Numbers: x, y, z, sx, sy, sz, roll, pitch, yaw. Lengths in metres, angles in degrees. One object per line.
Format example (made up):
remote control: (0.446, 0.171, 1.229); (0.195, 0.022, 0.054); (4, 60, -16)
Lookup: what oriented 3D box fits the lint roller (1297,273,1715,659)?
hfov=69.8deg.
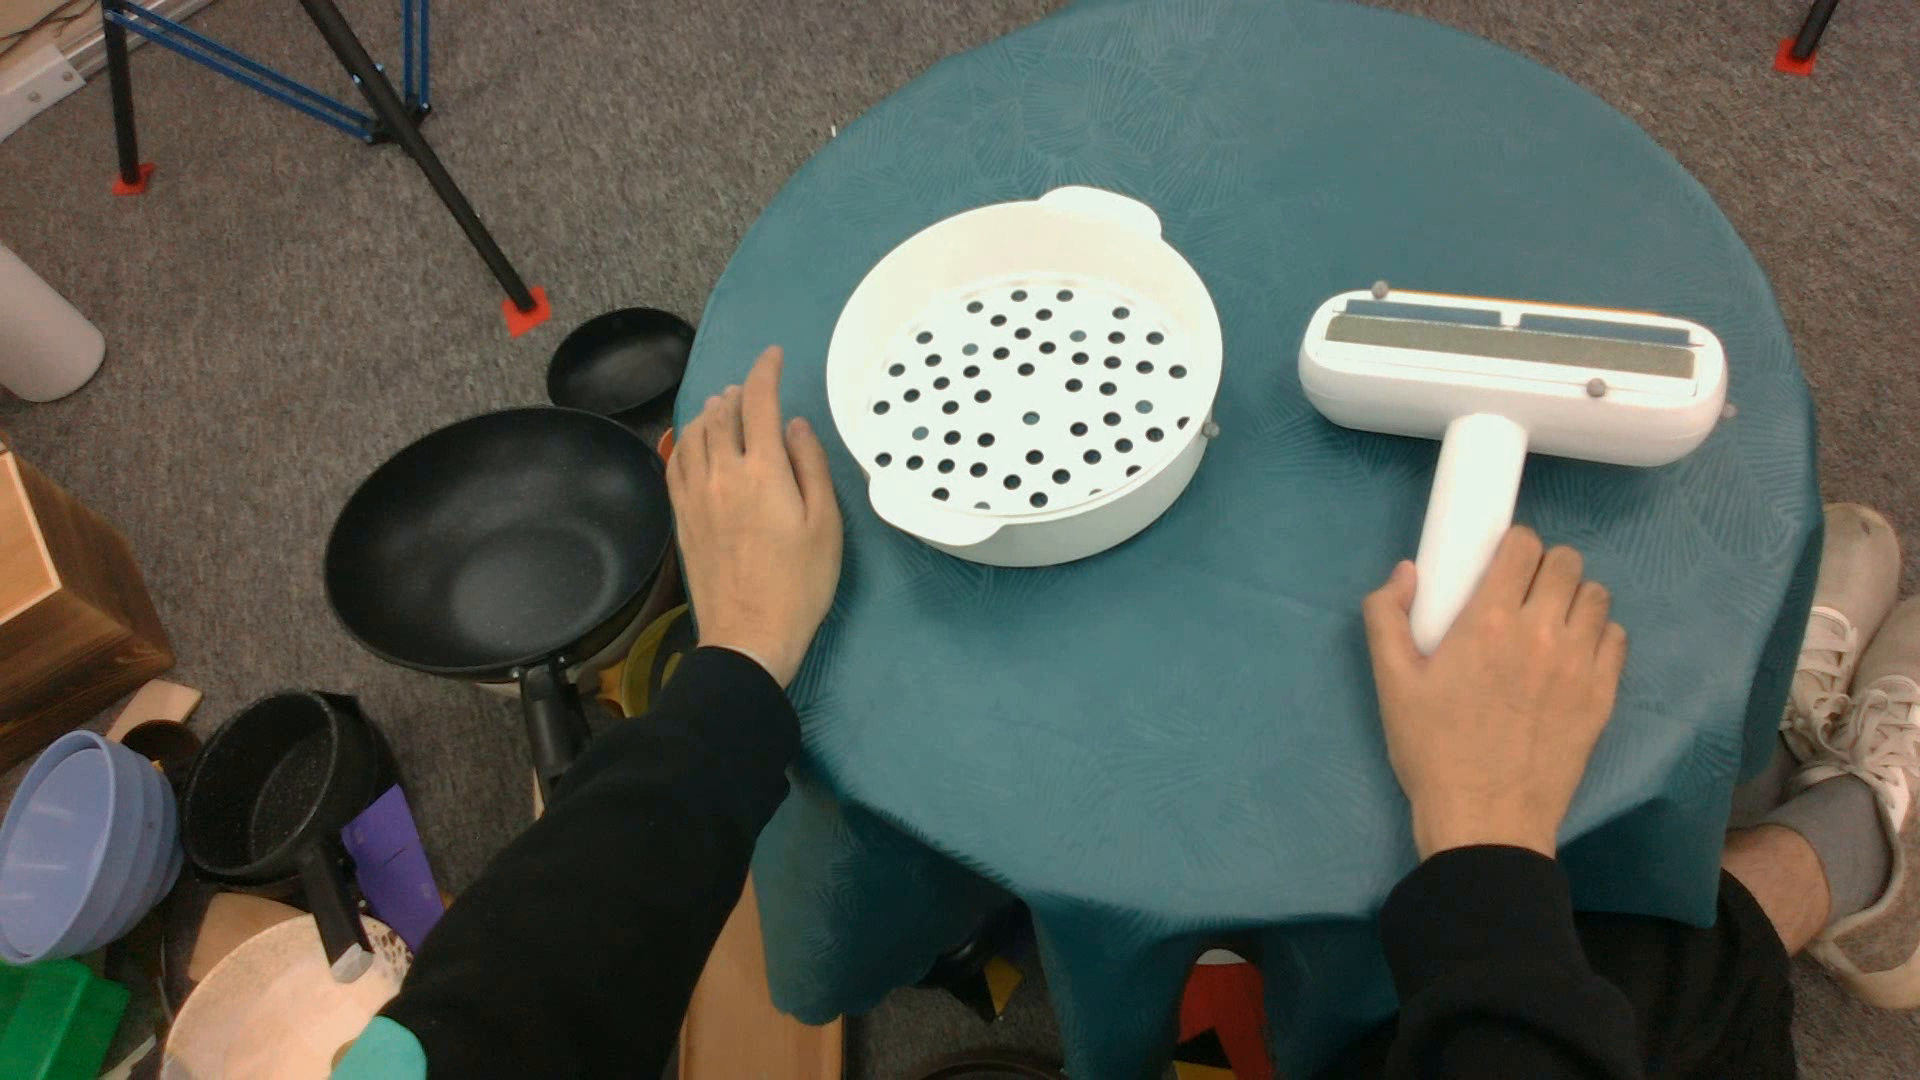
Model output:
lint roller: (0.241, -0.036, 0.662); (0.192, 0.074, 0.193); (17, 66, 22)

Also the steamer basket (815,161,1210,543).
steamer basket: (0.029, -0.094, 0.723); (0.202, 0.069, 0.231); (20, 67, 19)
